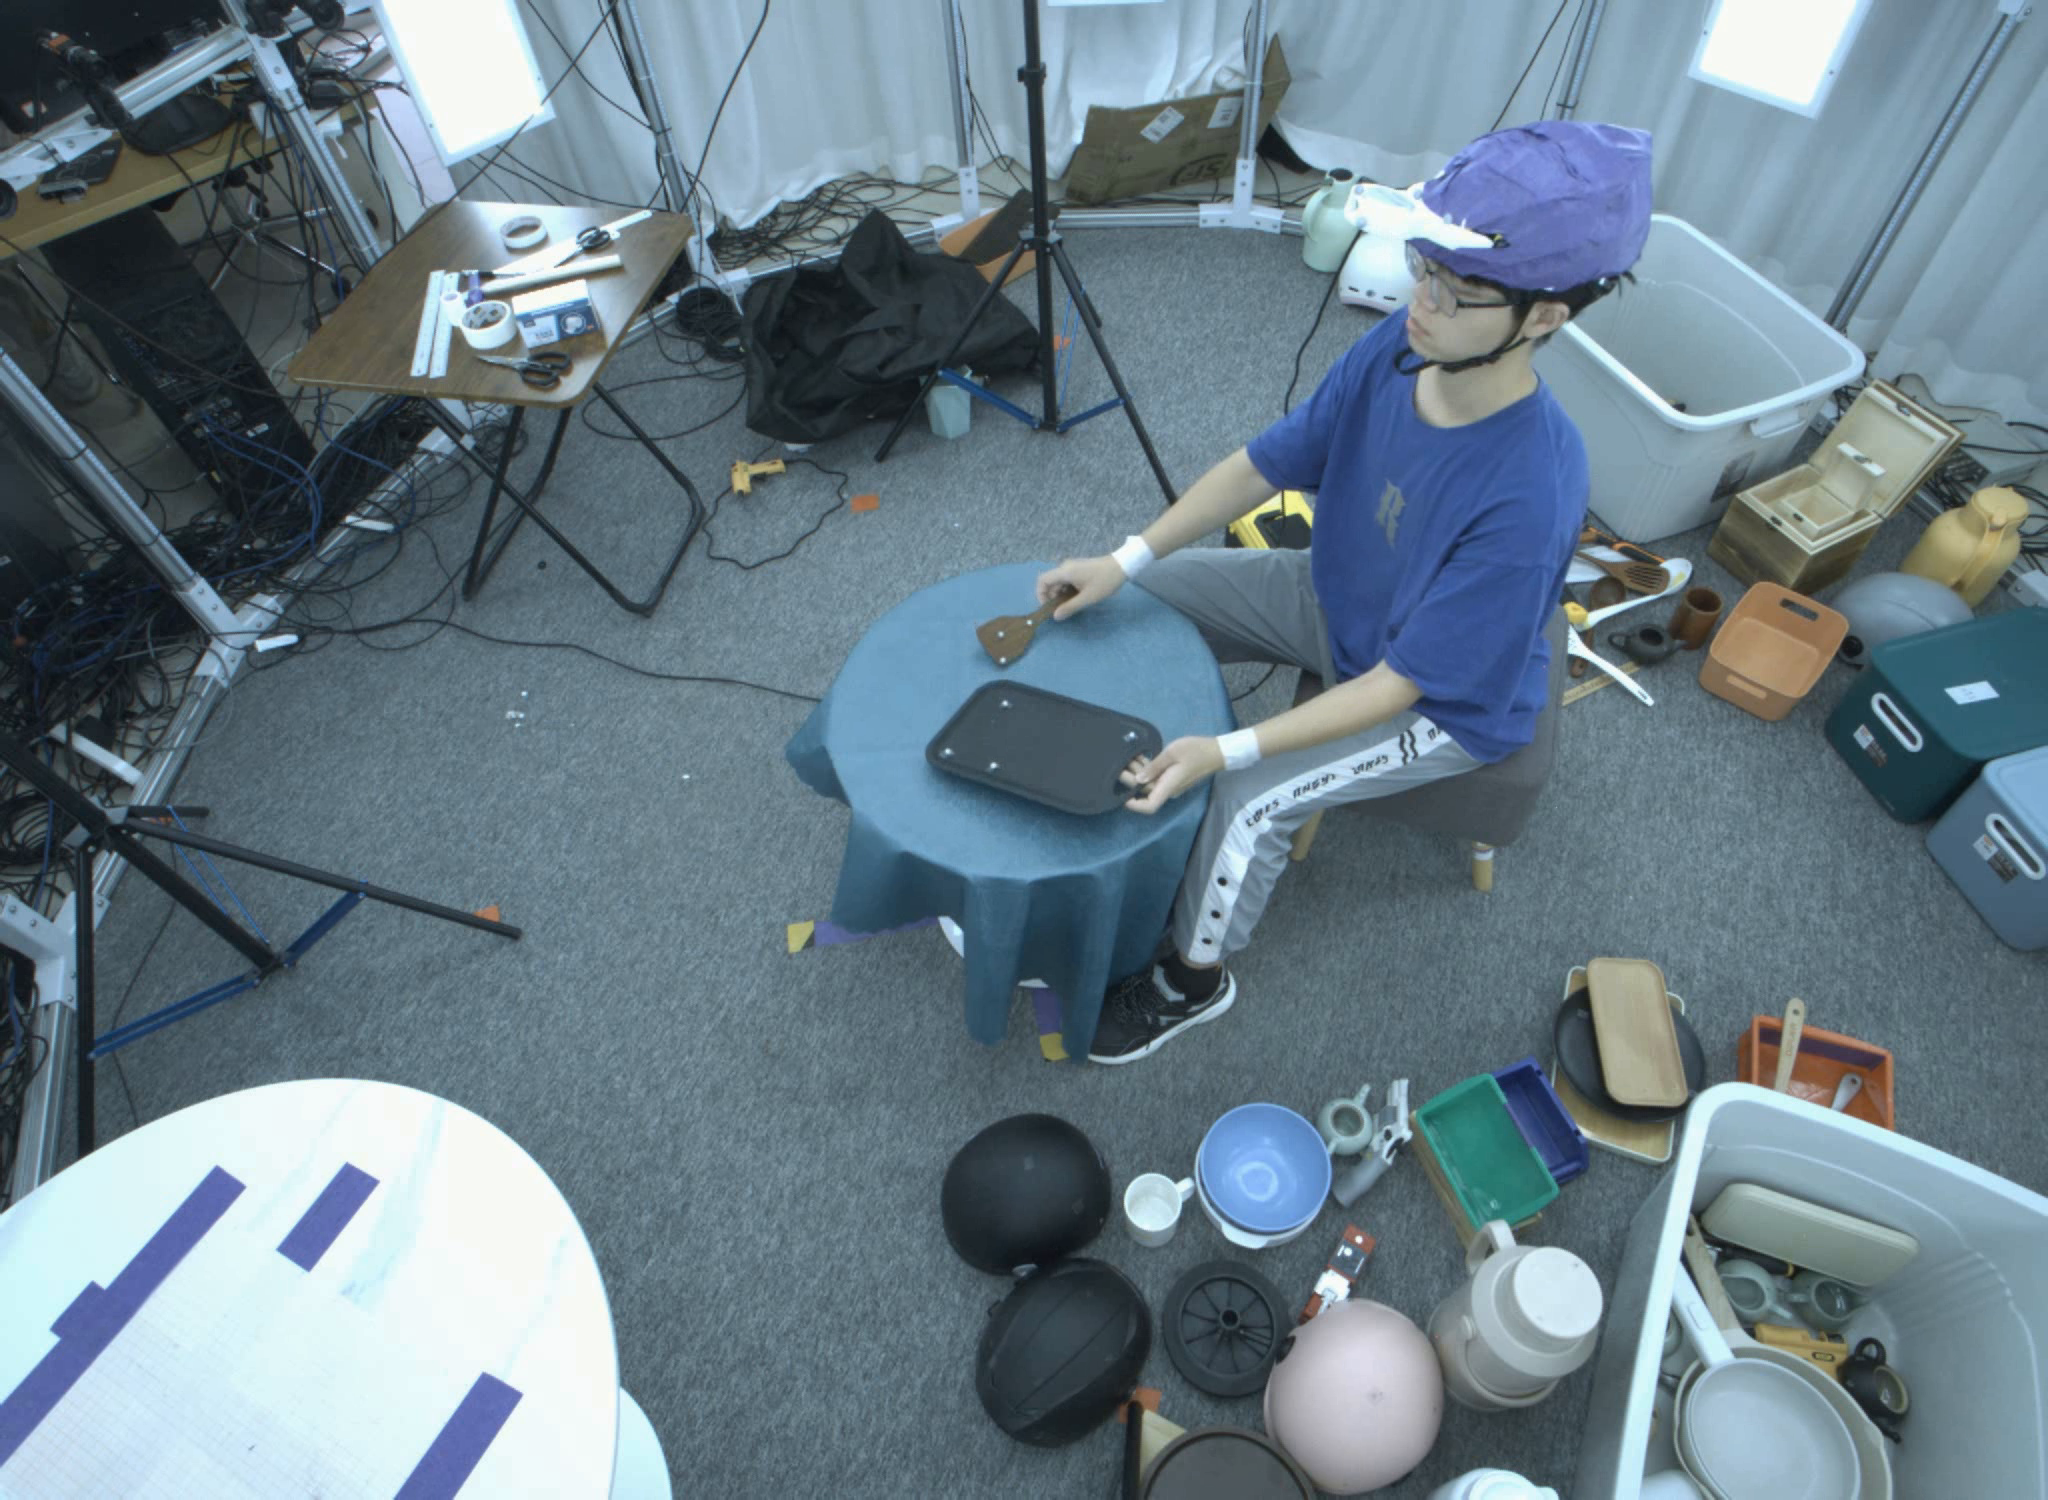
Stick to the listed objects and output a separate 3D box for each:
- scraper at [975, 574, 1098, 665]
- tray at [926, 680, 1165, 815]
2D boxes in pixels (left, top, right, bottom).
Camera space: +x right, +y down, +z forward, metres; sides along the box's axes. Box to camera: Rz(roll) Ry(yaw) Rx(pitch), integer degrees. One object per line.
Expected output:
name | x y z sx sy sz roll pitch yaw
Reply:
scraper | 0.025 -0.210 1.889 0.212 0.011 0.075 -34 86 -14
tray | 0.035 -0.008 1.736 0.319 0.010 0.212 18 48 25
